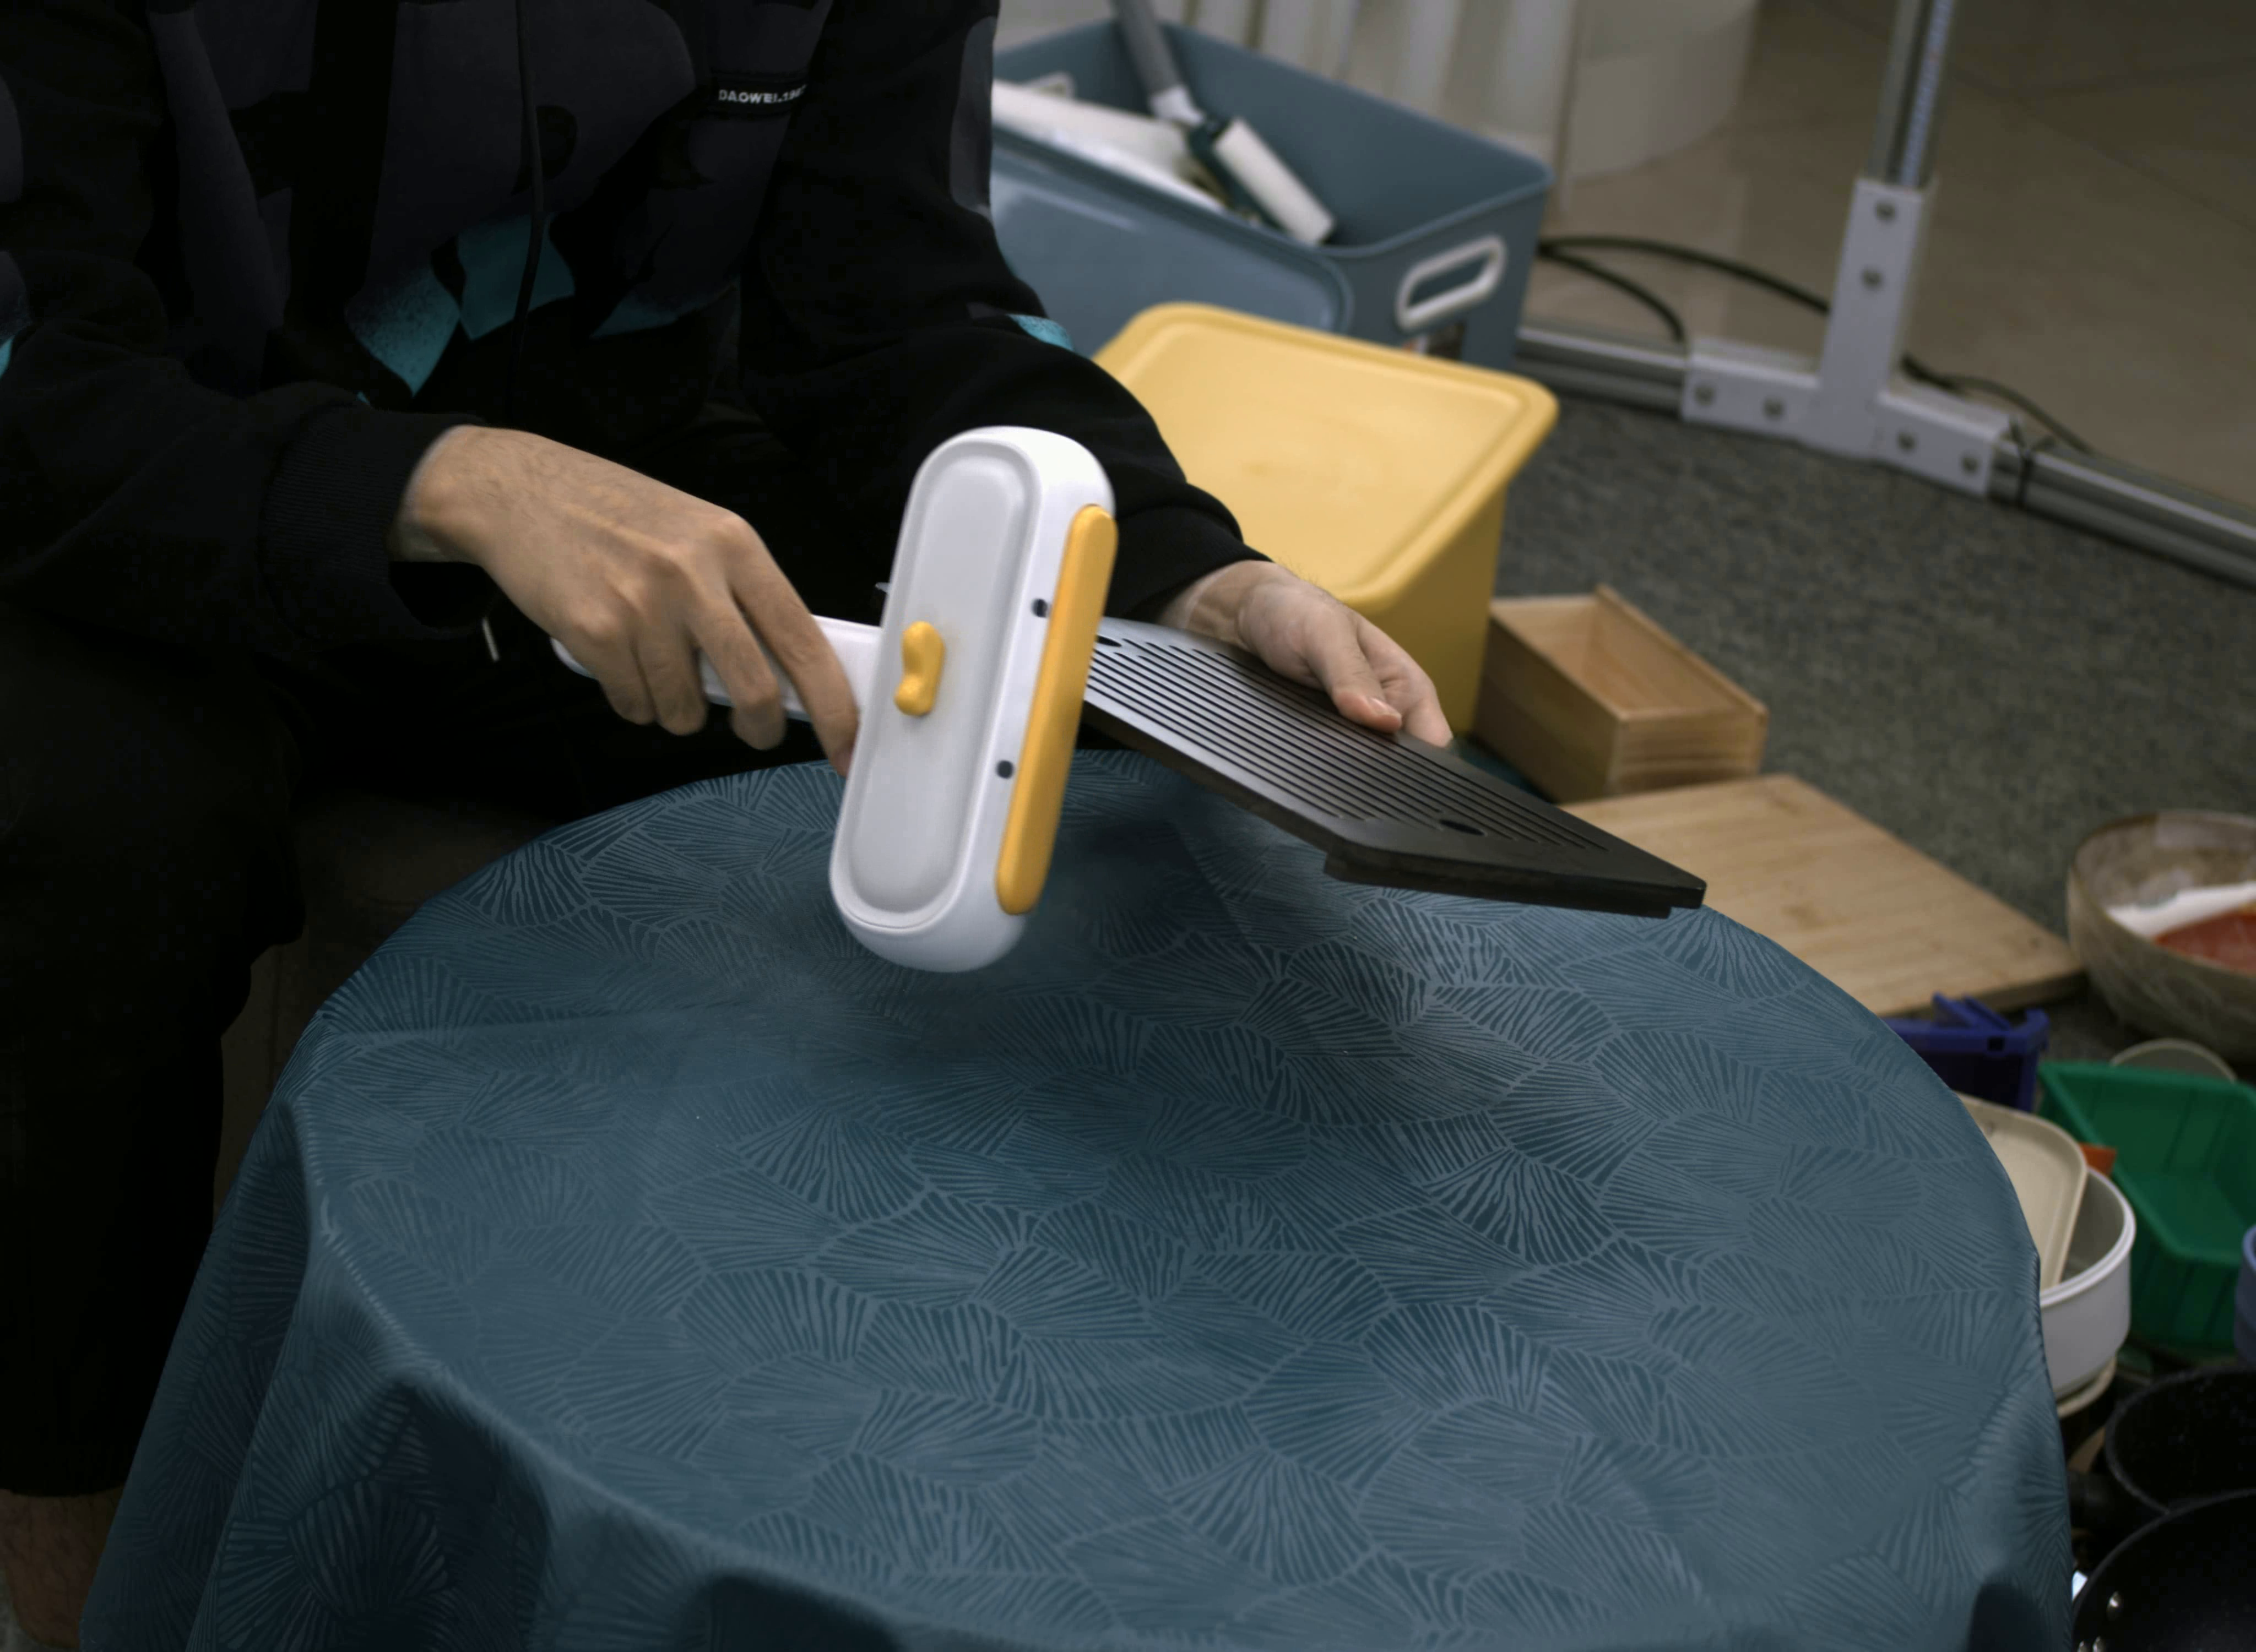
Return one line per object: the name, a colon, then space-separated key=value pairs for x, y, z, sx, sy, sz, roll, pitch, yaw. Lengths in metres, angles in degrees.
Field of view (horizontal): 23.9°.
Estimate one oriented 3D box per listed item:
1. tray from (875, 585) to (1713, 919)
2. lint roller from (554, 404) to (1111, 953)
tray: x=0.053 y=-0.026 z=1.900 sx=0.168 sy=0.018 sz=0.308 roll=7 pitch=14 yaw=-39
lint roller: x=-0.107 y=-0.056 z=1.865 sx=0.193 sy=0.193 sz=0.073 roll=3 pitch=-6 yaw=25
